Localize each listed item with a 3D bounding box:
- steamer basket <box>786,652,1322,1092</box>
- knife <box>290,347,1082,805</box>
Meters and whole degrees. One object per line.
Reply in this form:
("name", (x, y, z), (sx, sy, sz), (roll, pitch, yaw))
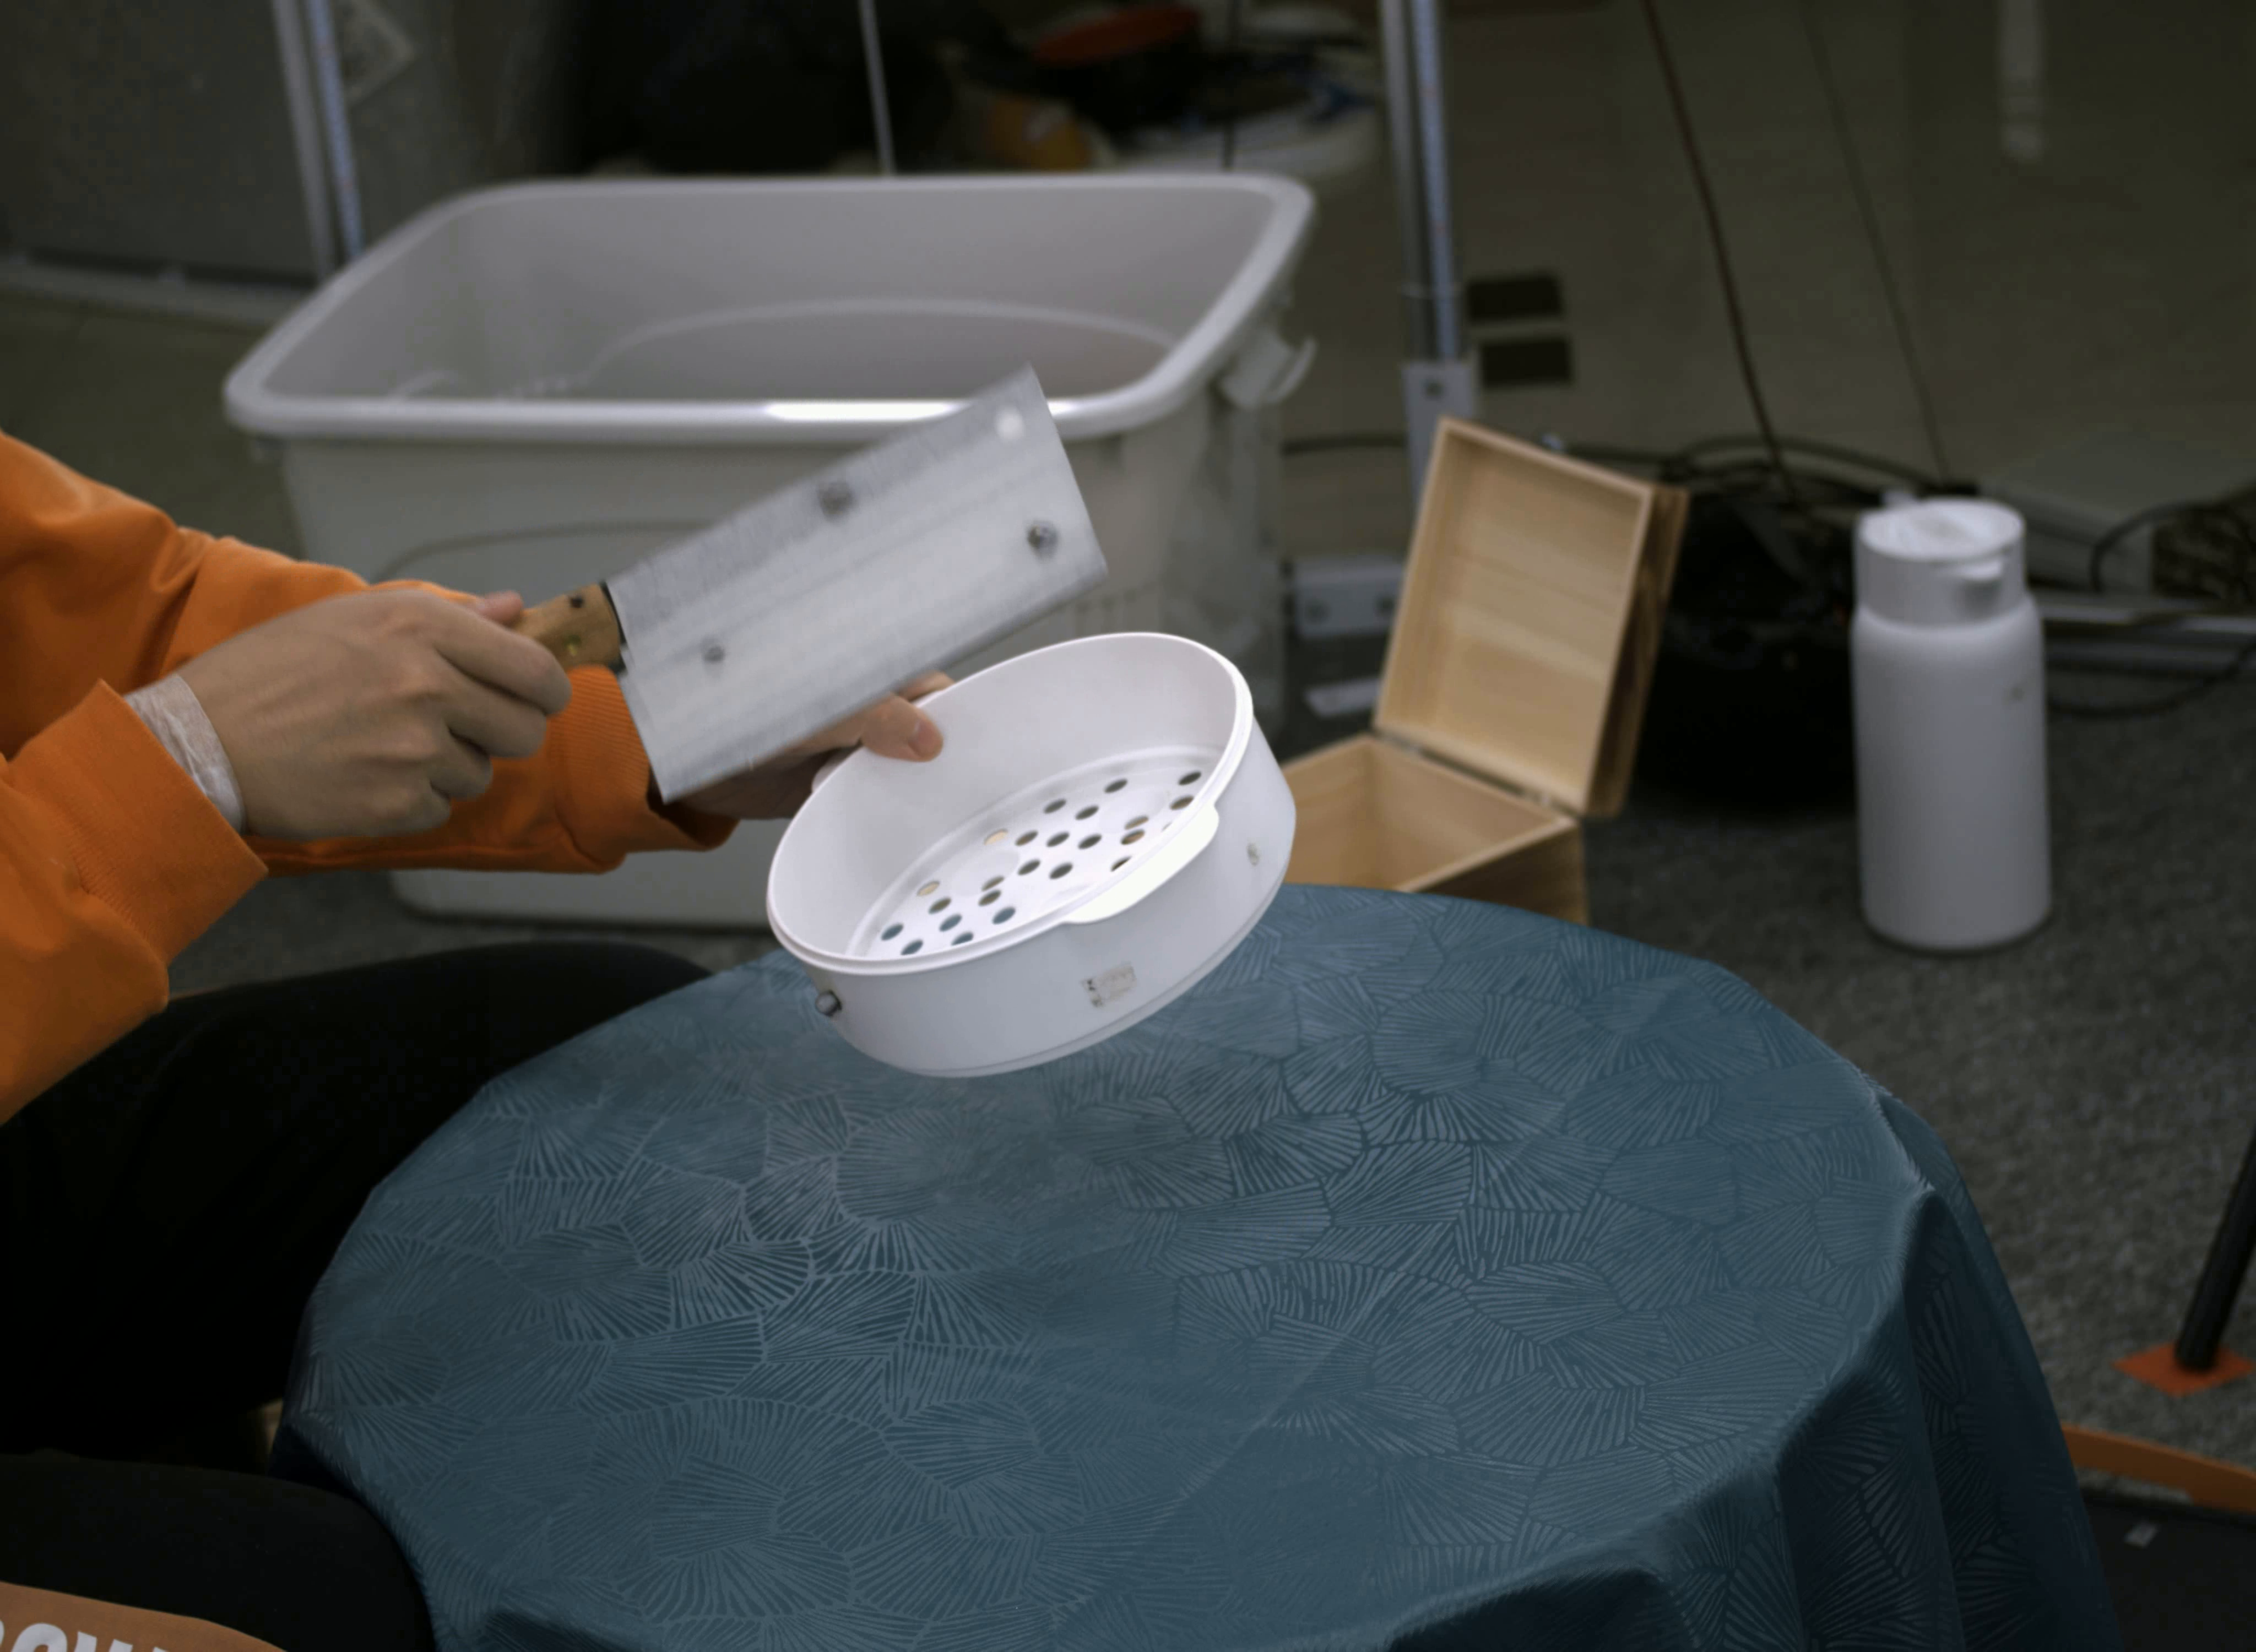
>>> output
("steamer basket", (-0.025, 0.018, 2.131), (0.200, 0.070, 0.228), (-37, 33, -20))
("knife", (-0.154, -0.071, 2.049), (0.304, 0.094, 0.021), (-29, 31, -12))
